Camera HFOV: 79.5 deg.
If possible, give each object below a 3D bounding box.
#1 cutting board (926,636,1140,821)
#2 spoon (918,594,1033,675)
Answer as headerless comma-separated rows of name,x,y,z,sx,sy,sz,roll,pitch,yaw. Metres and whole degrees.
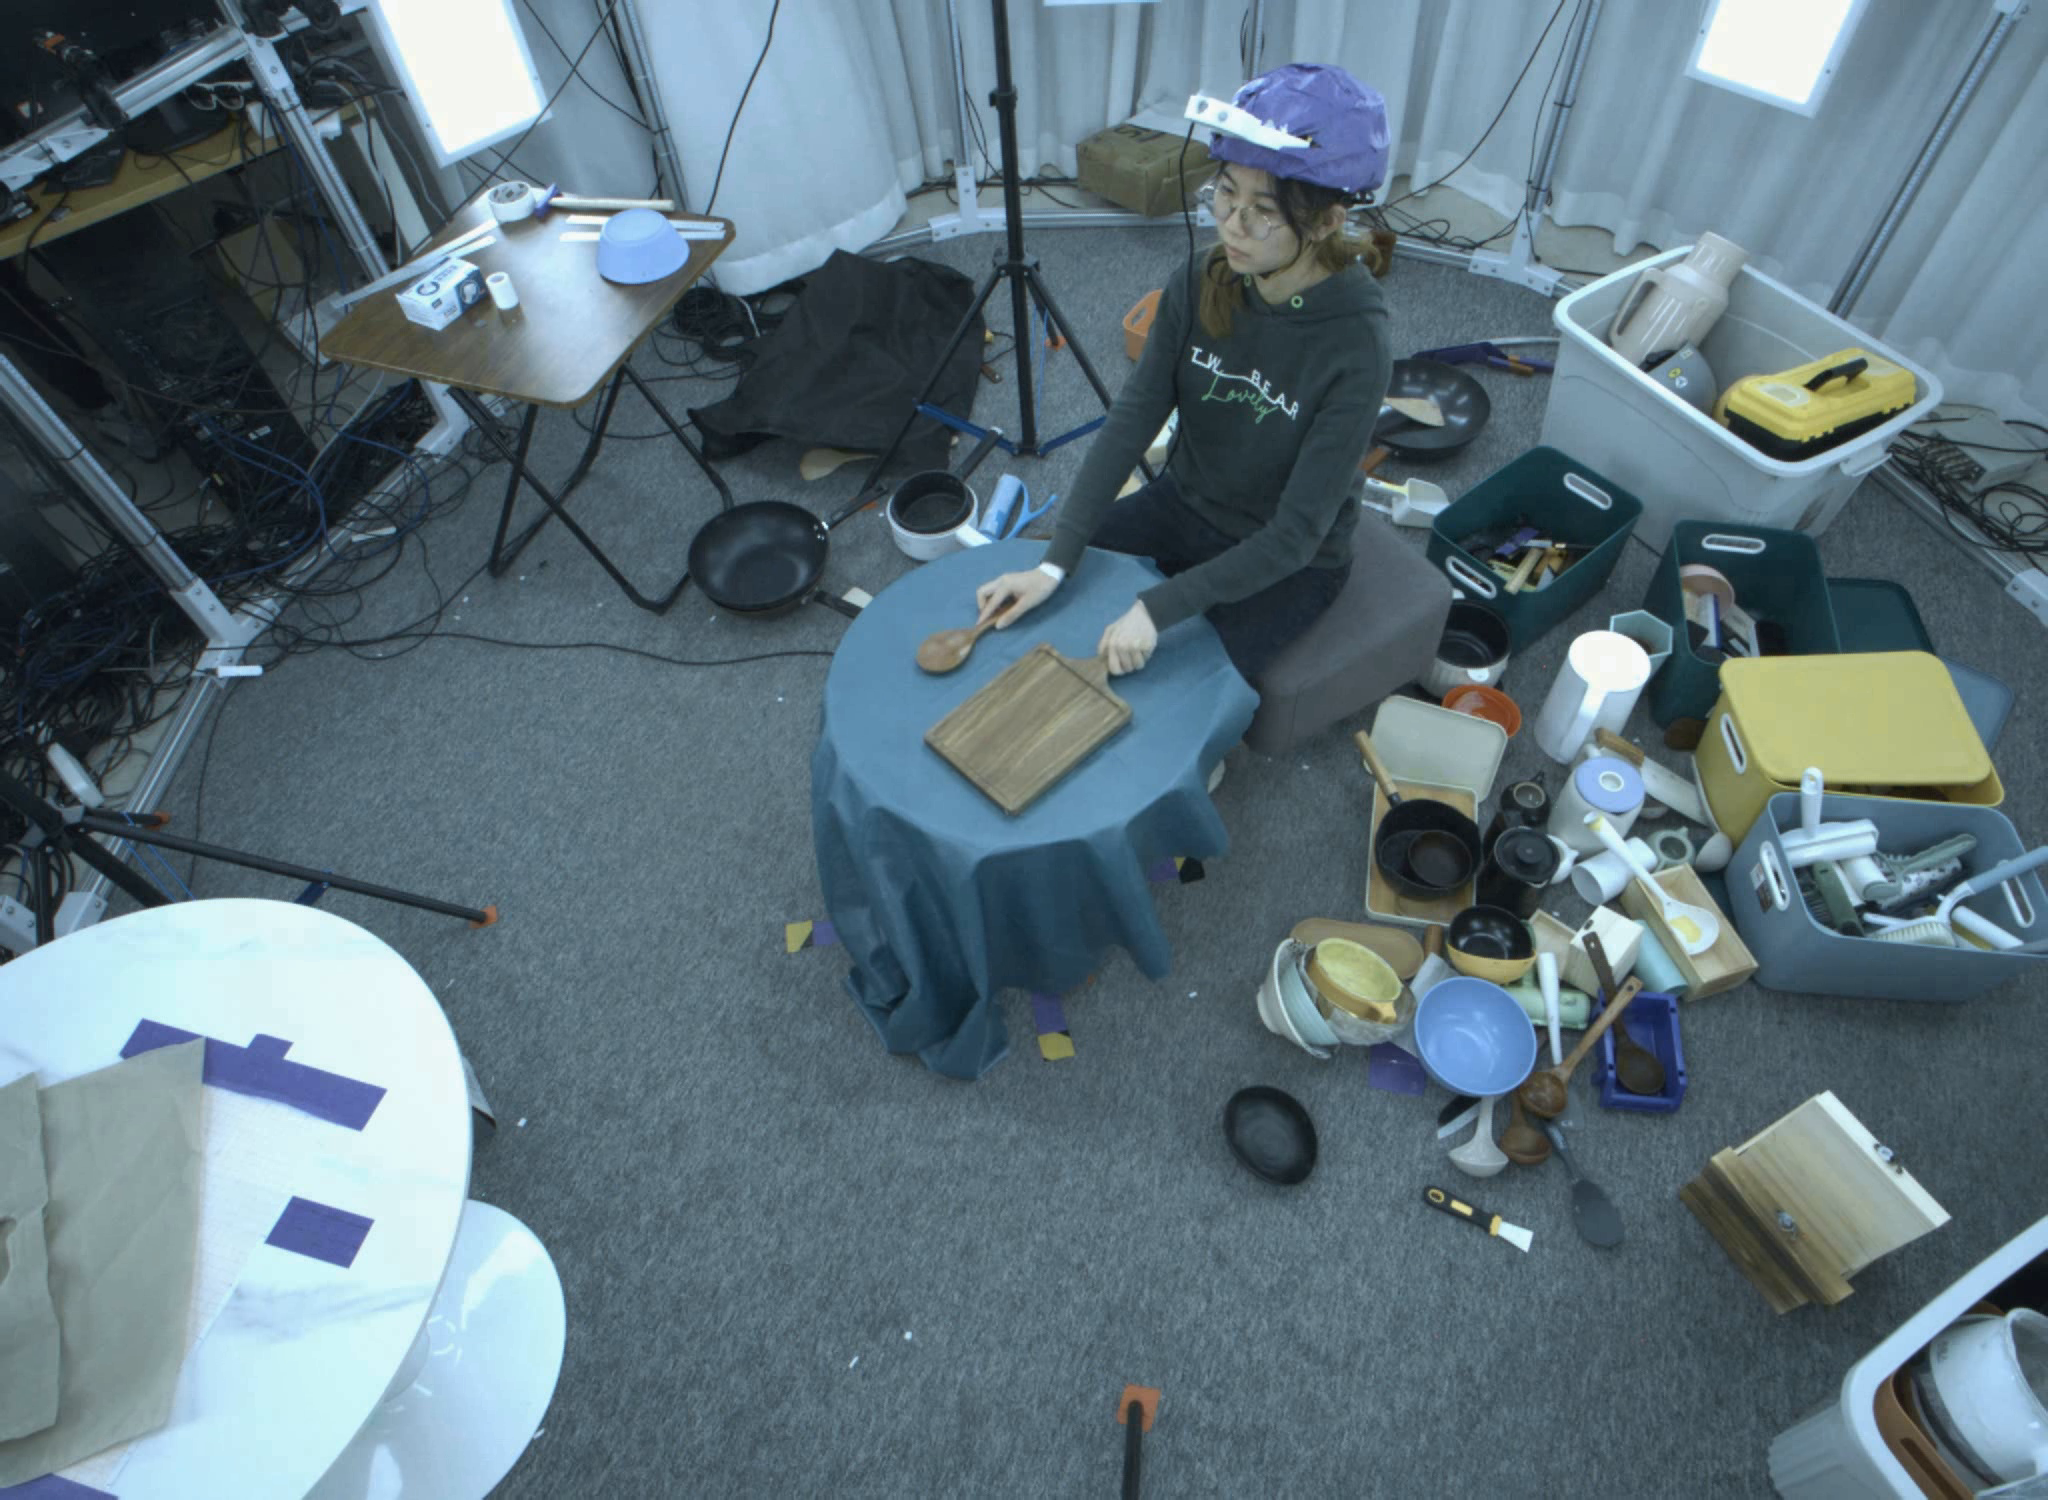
cutting board,0.046,-0.060,1.821,0.354,0.023,0.197,-40,62,-21
spoon,-0.073,-0.181,1.915,0.217,0.017,0.074,-36,60,-20
